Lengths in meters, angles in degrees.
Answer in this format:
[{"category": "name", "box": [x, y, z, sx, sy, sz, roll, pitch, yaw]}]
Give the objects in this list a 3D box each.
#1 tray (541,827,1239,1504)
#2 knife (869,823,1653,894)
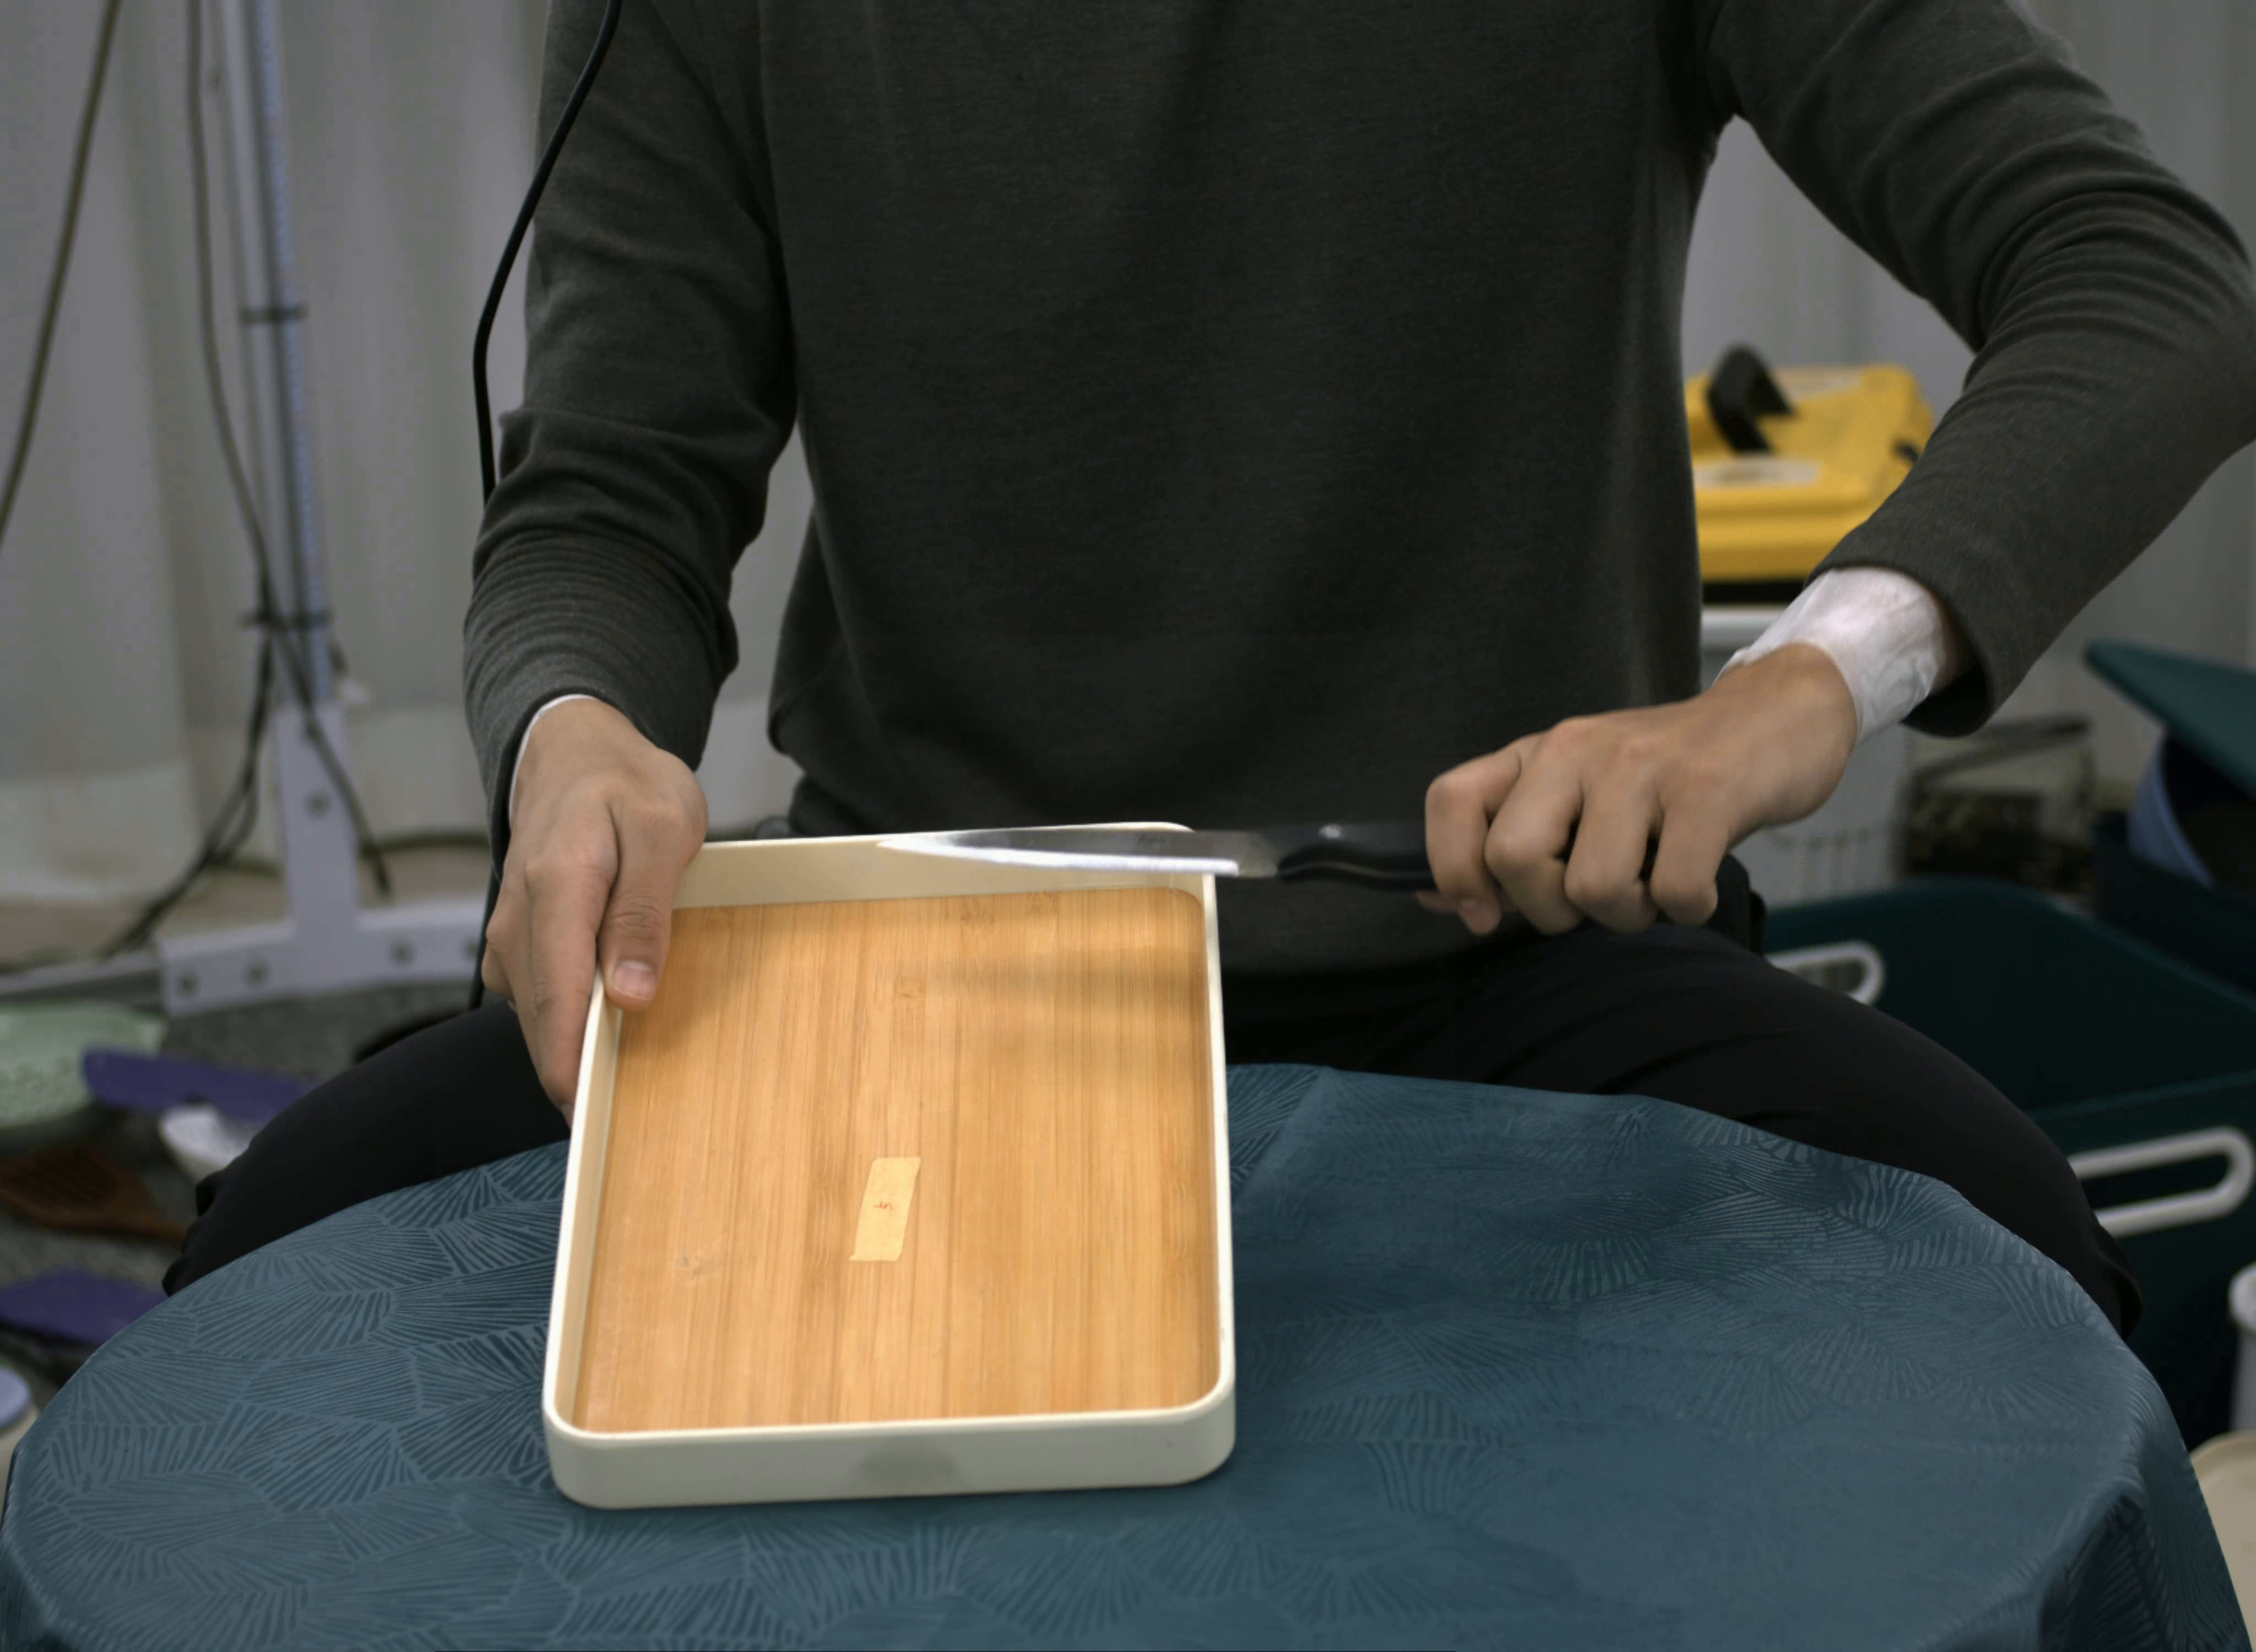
[{"category": "tray", "box": [-0.065, 0.093, 1.596, 0.191, 0.027, 0.304, -2, 32, 1]}, {"category": "knife", "box": [0.039, 0.009, 1.643, 0.238, 0.016, 0.025, 0, 32, 10]}]
